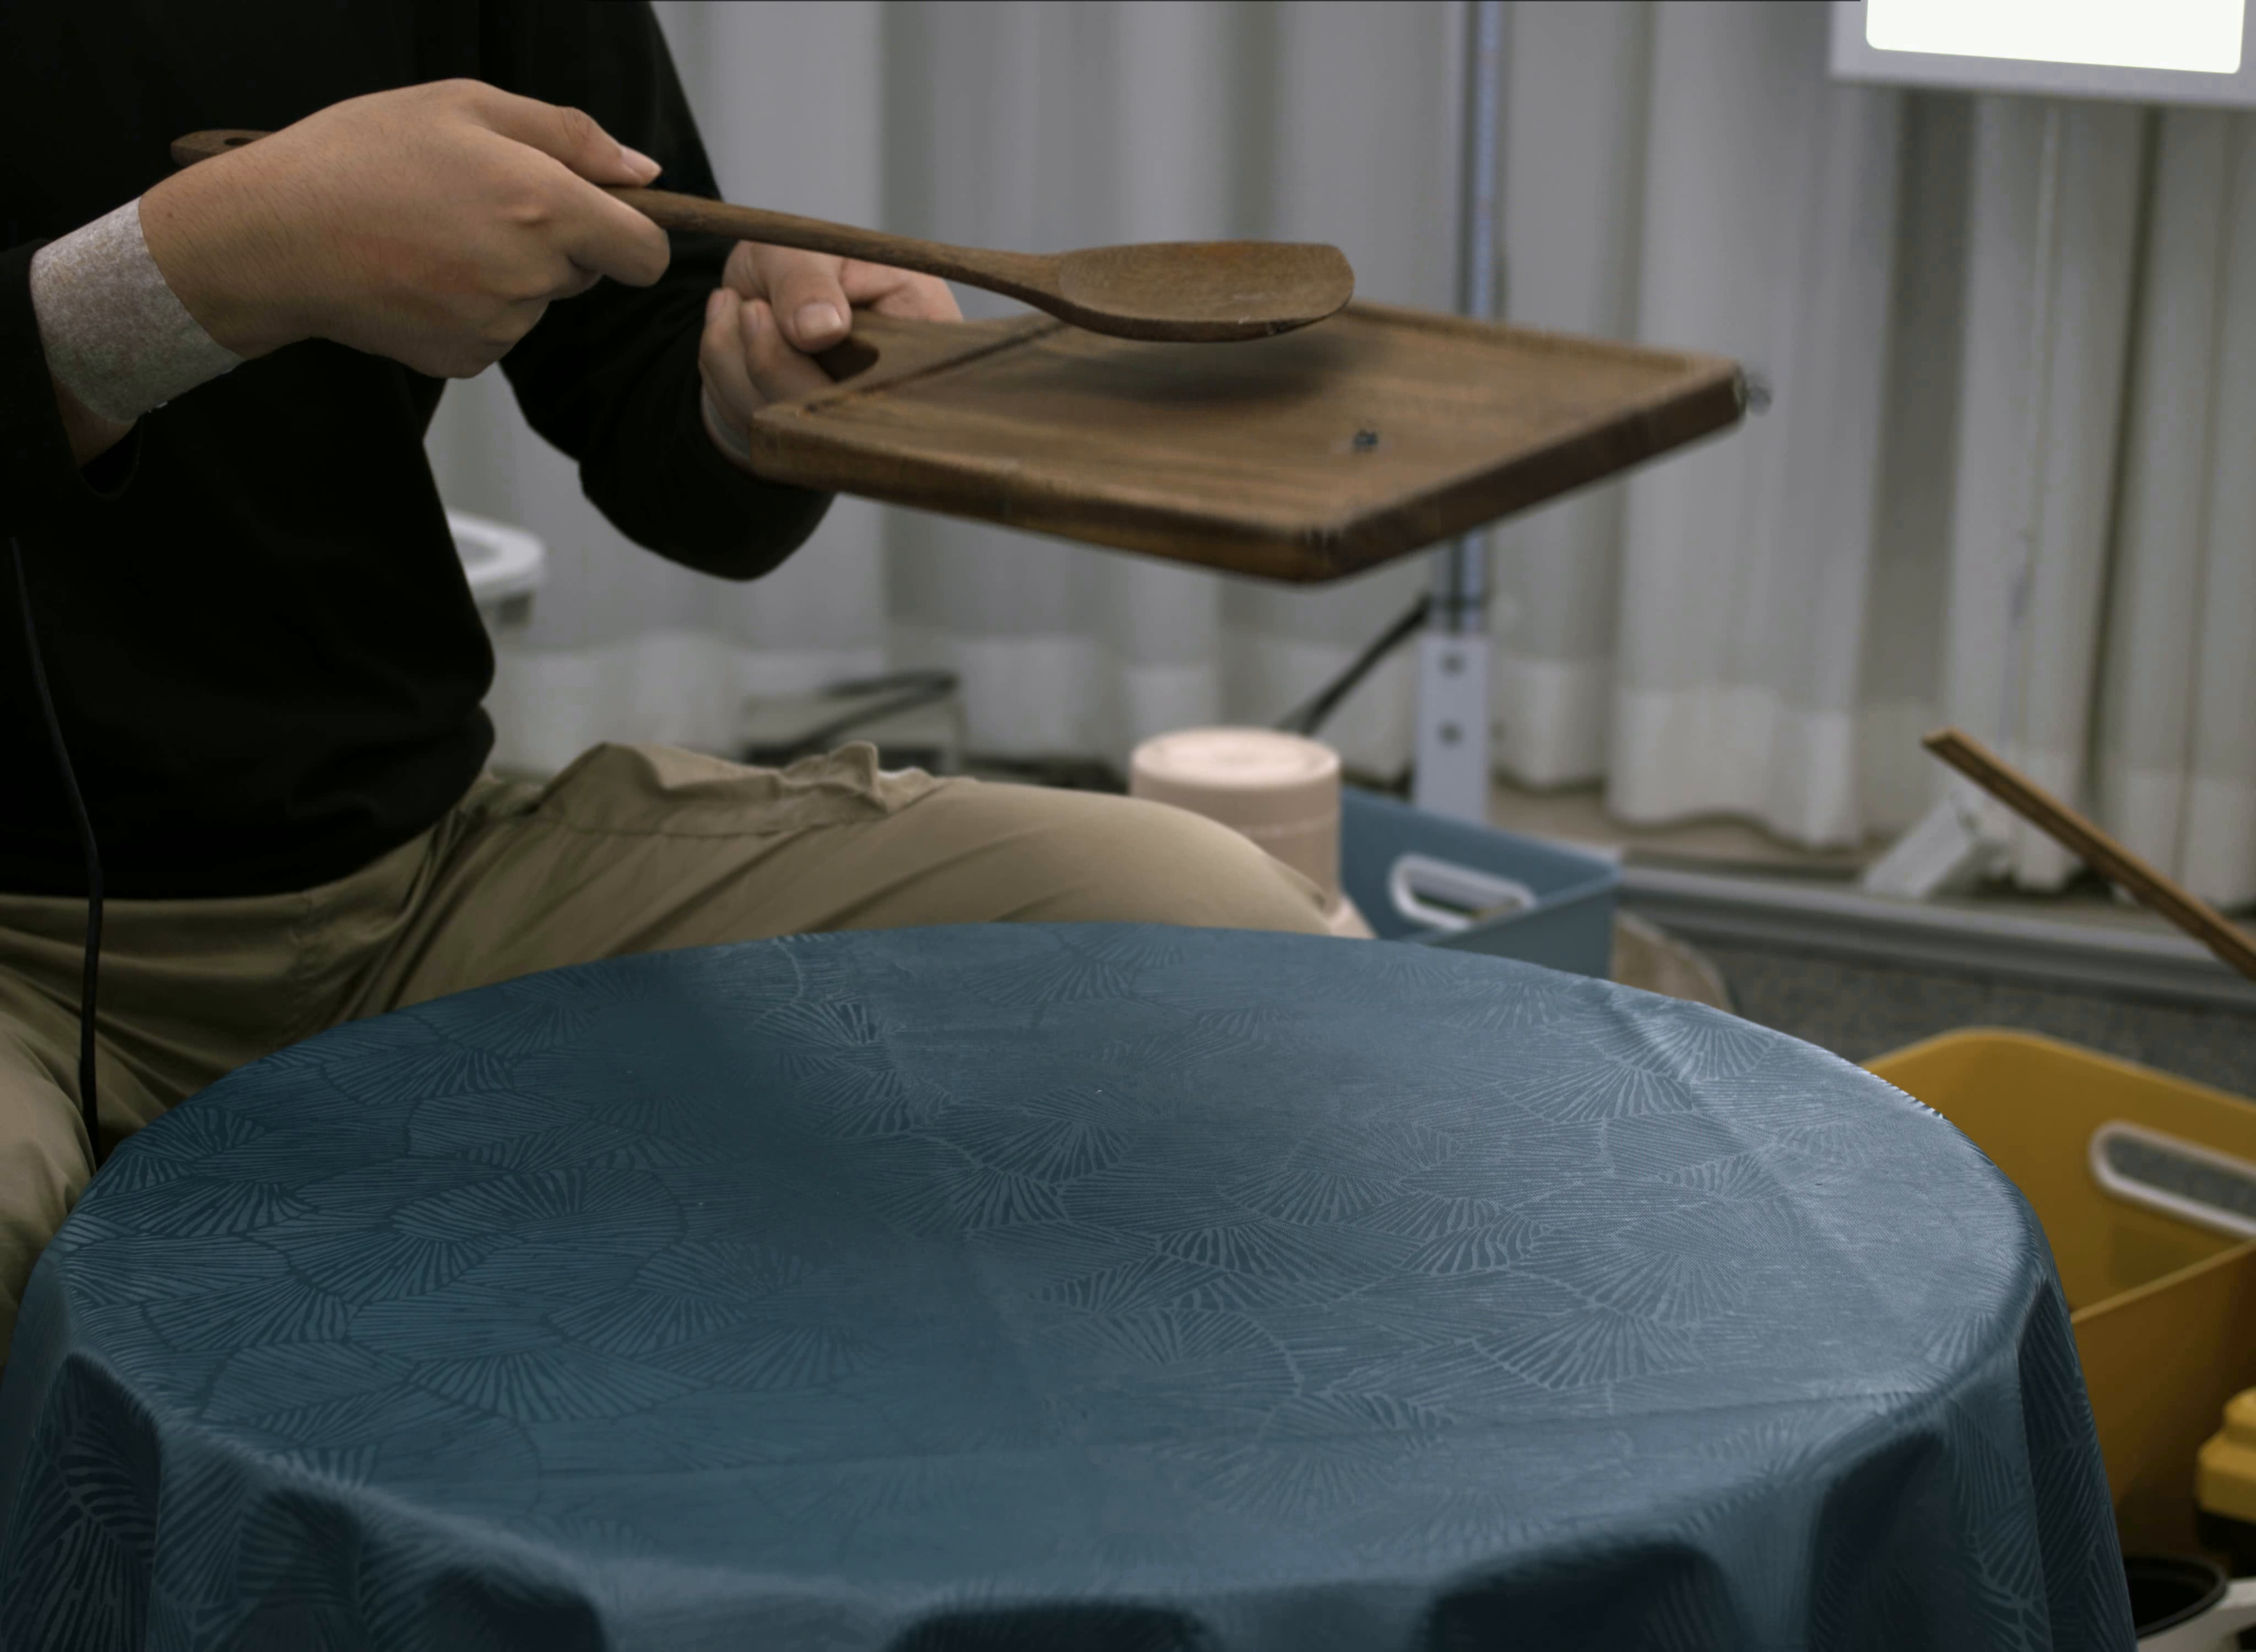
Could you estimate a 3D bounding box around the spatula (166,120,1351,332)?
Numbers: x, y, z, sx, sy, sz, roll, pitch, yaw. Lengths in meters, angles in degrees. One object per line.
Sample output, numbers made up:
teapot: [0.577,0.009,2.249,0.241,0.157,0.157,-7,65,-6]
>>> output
spatula: [-0.120,-0.192,1.658,0.383,0.016,0.096,9,23,8]

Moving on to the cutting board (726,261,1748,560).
cutting board: [-0.001,-0.139,1.638,0.347,0.023,0.201,13,27,43]
